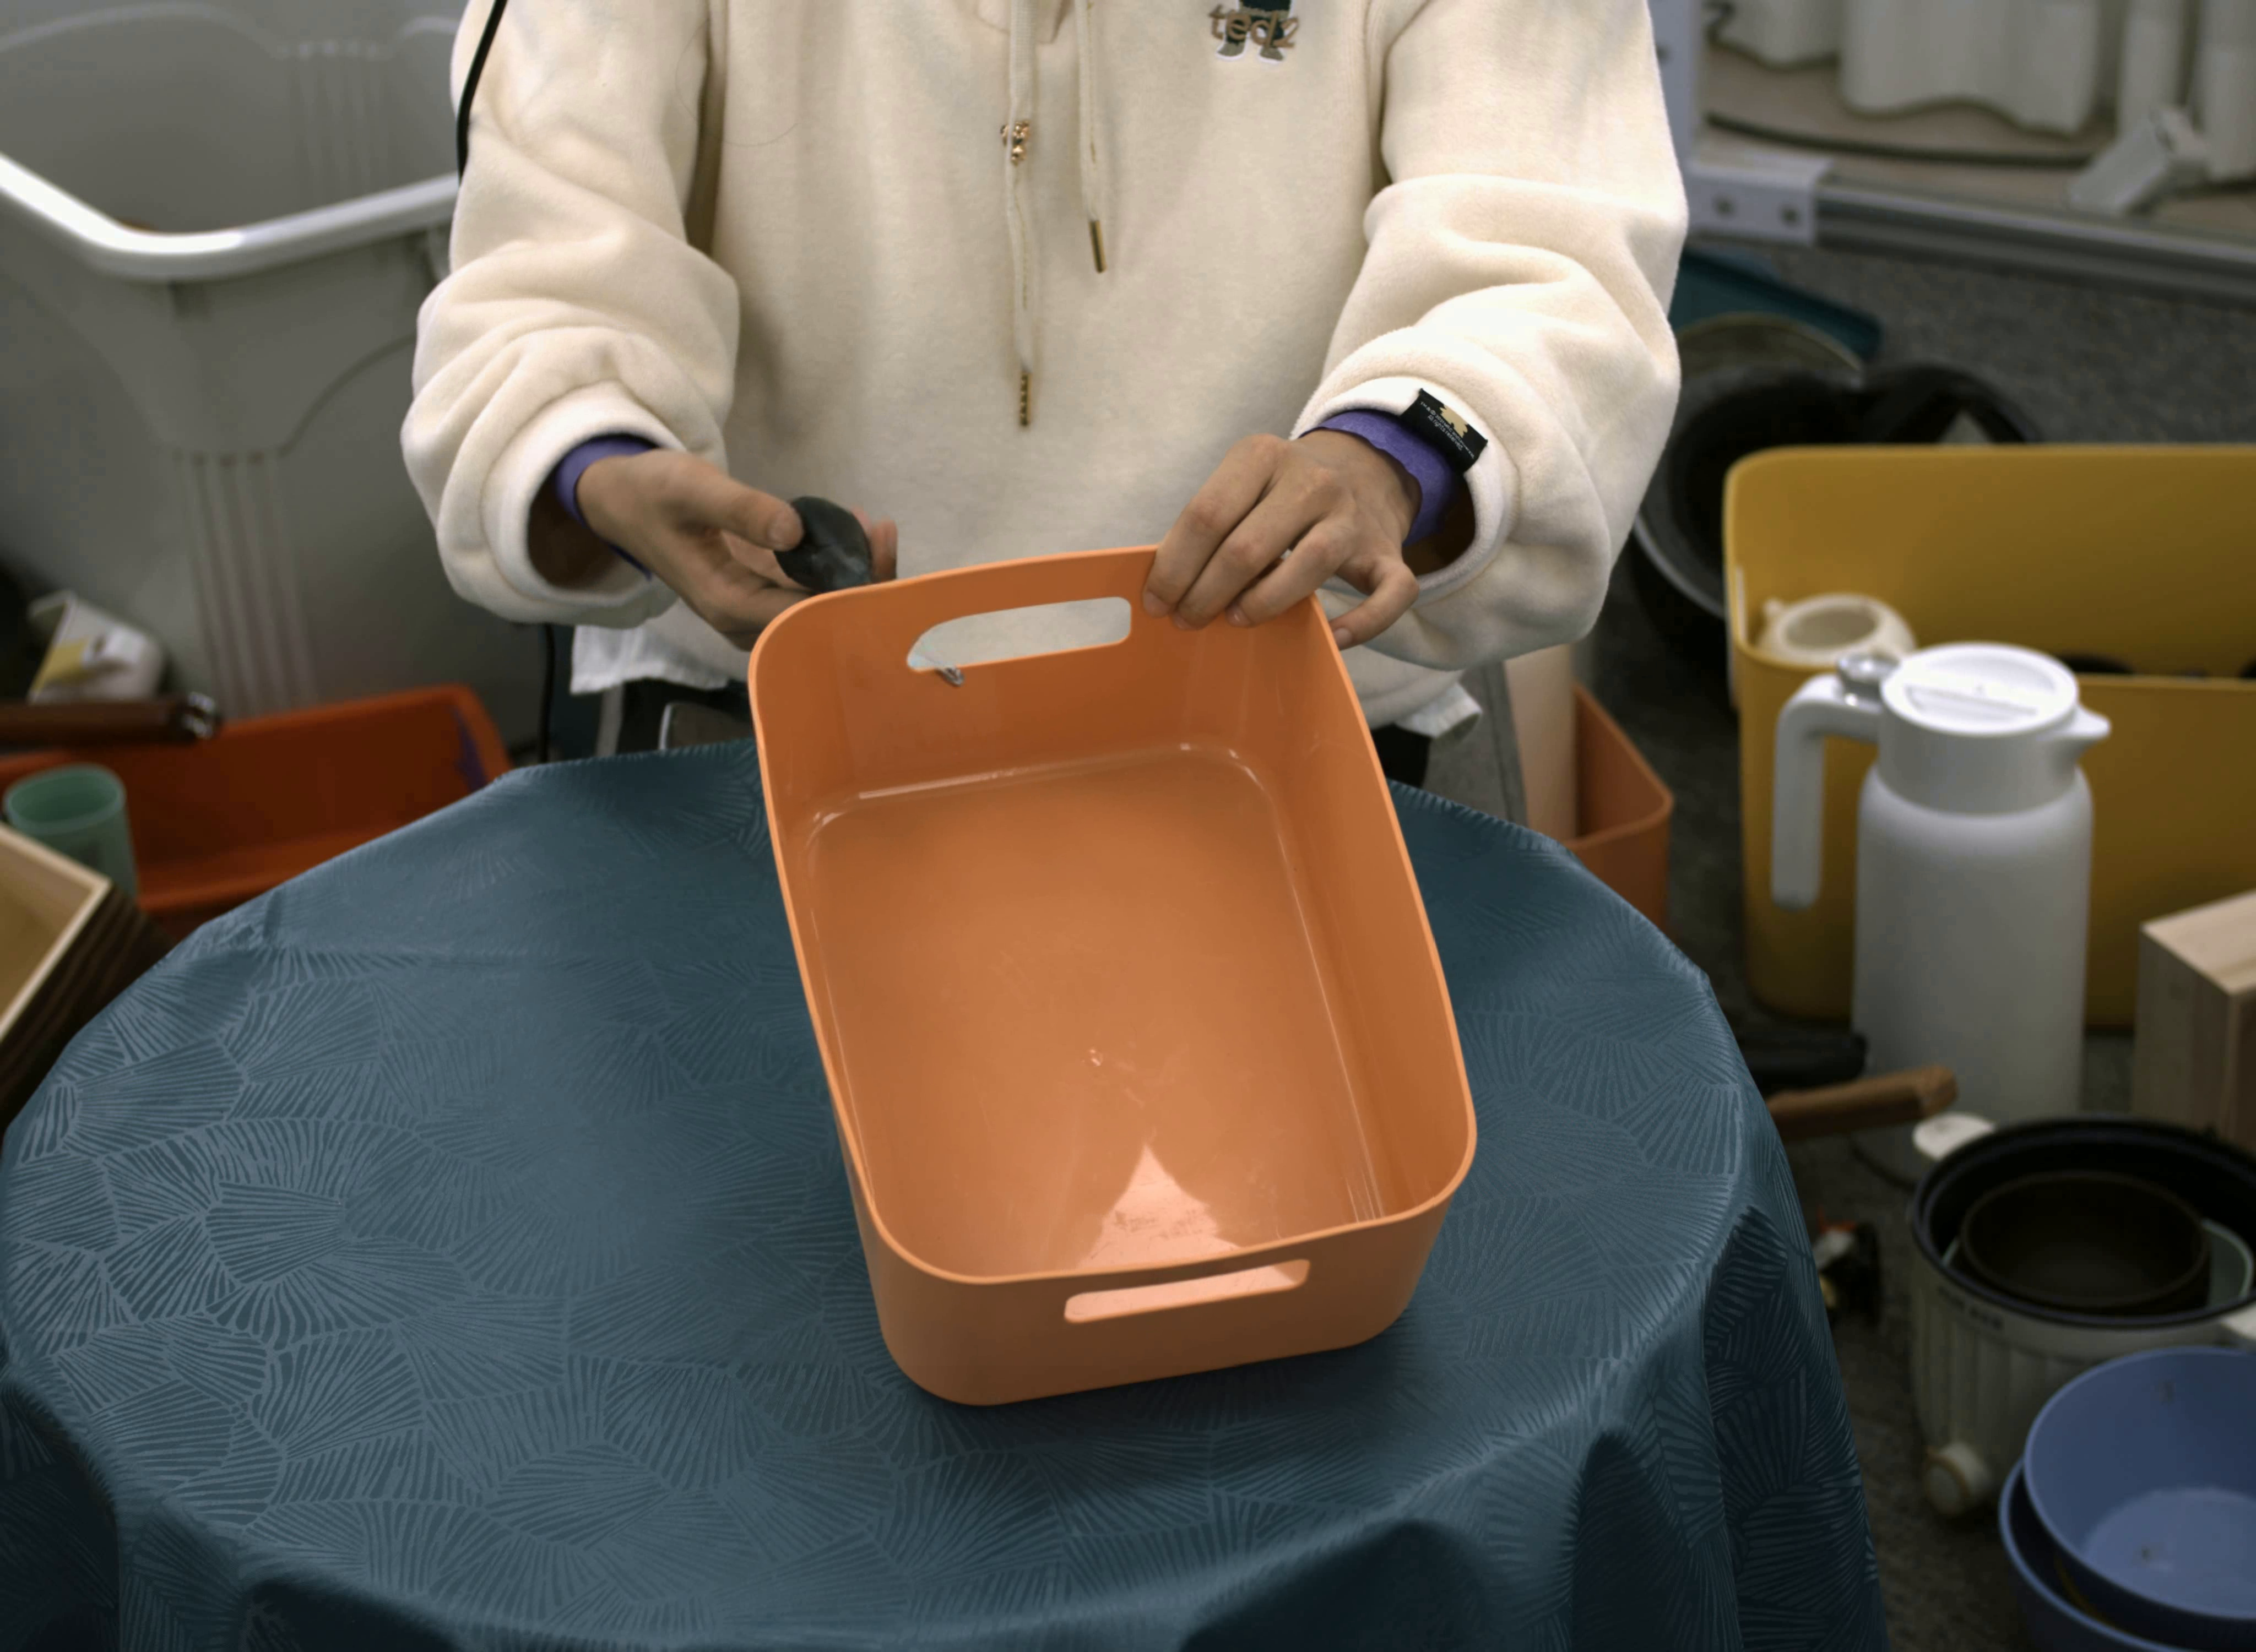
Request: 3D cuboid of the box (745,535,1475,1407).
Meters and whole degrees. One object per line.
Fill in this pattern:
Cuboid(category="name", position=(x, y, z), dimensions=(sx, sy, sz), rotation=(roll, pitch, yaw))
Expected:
Cuboid(category="box", position=(-0.009, 0.048, 1.794), dimensions=(0.199, 0.101, 0.278), rotation=(-9, 54, -9))

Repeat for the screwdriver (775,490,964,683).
Cuboid(category="screwdriver", position=(-0.082, -0.080, 1.925), dimensions=(0.031, 0.031, 0.197), rotation=(-12, 22, -18))
